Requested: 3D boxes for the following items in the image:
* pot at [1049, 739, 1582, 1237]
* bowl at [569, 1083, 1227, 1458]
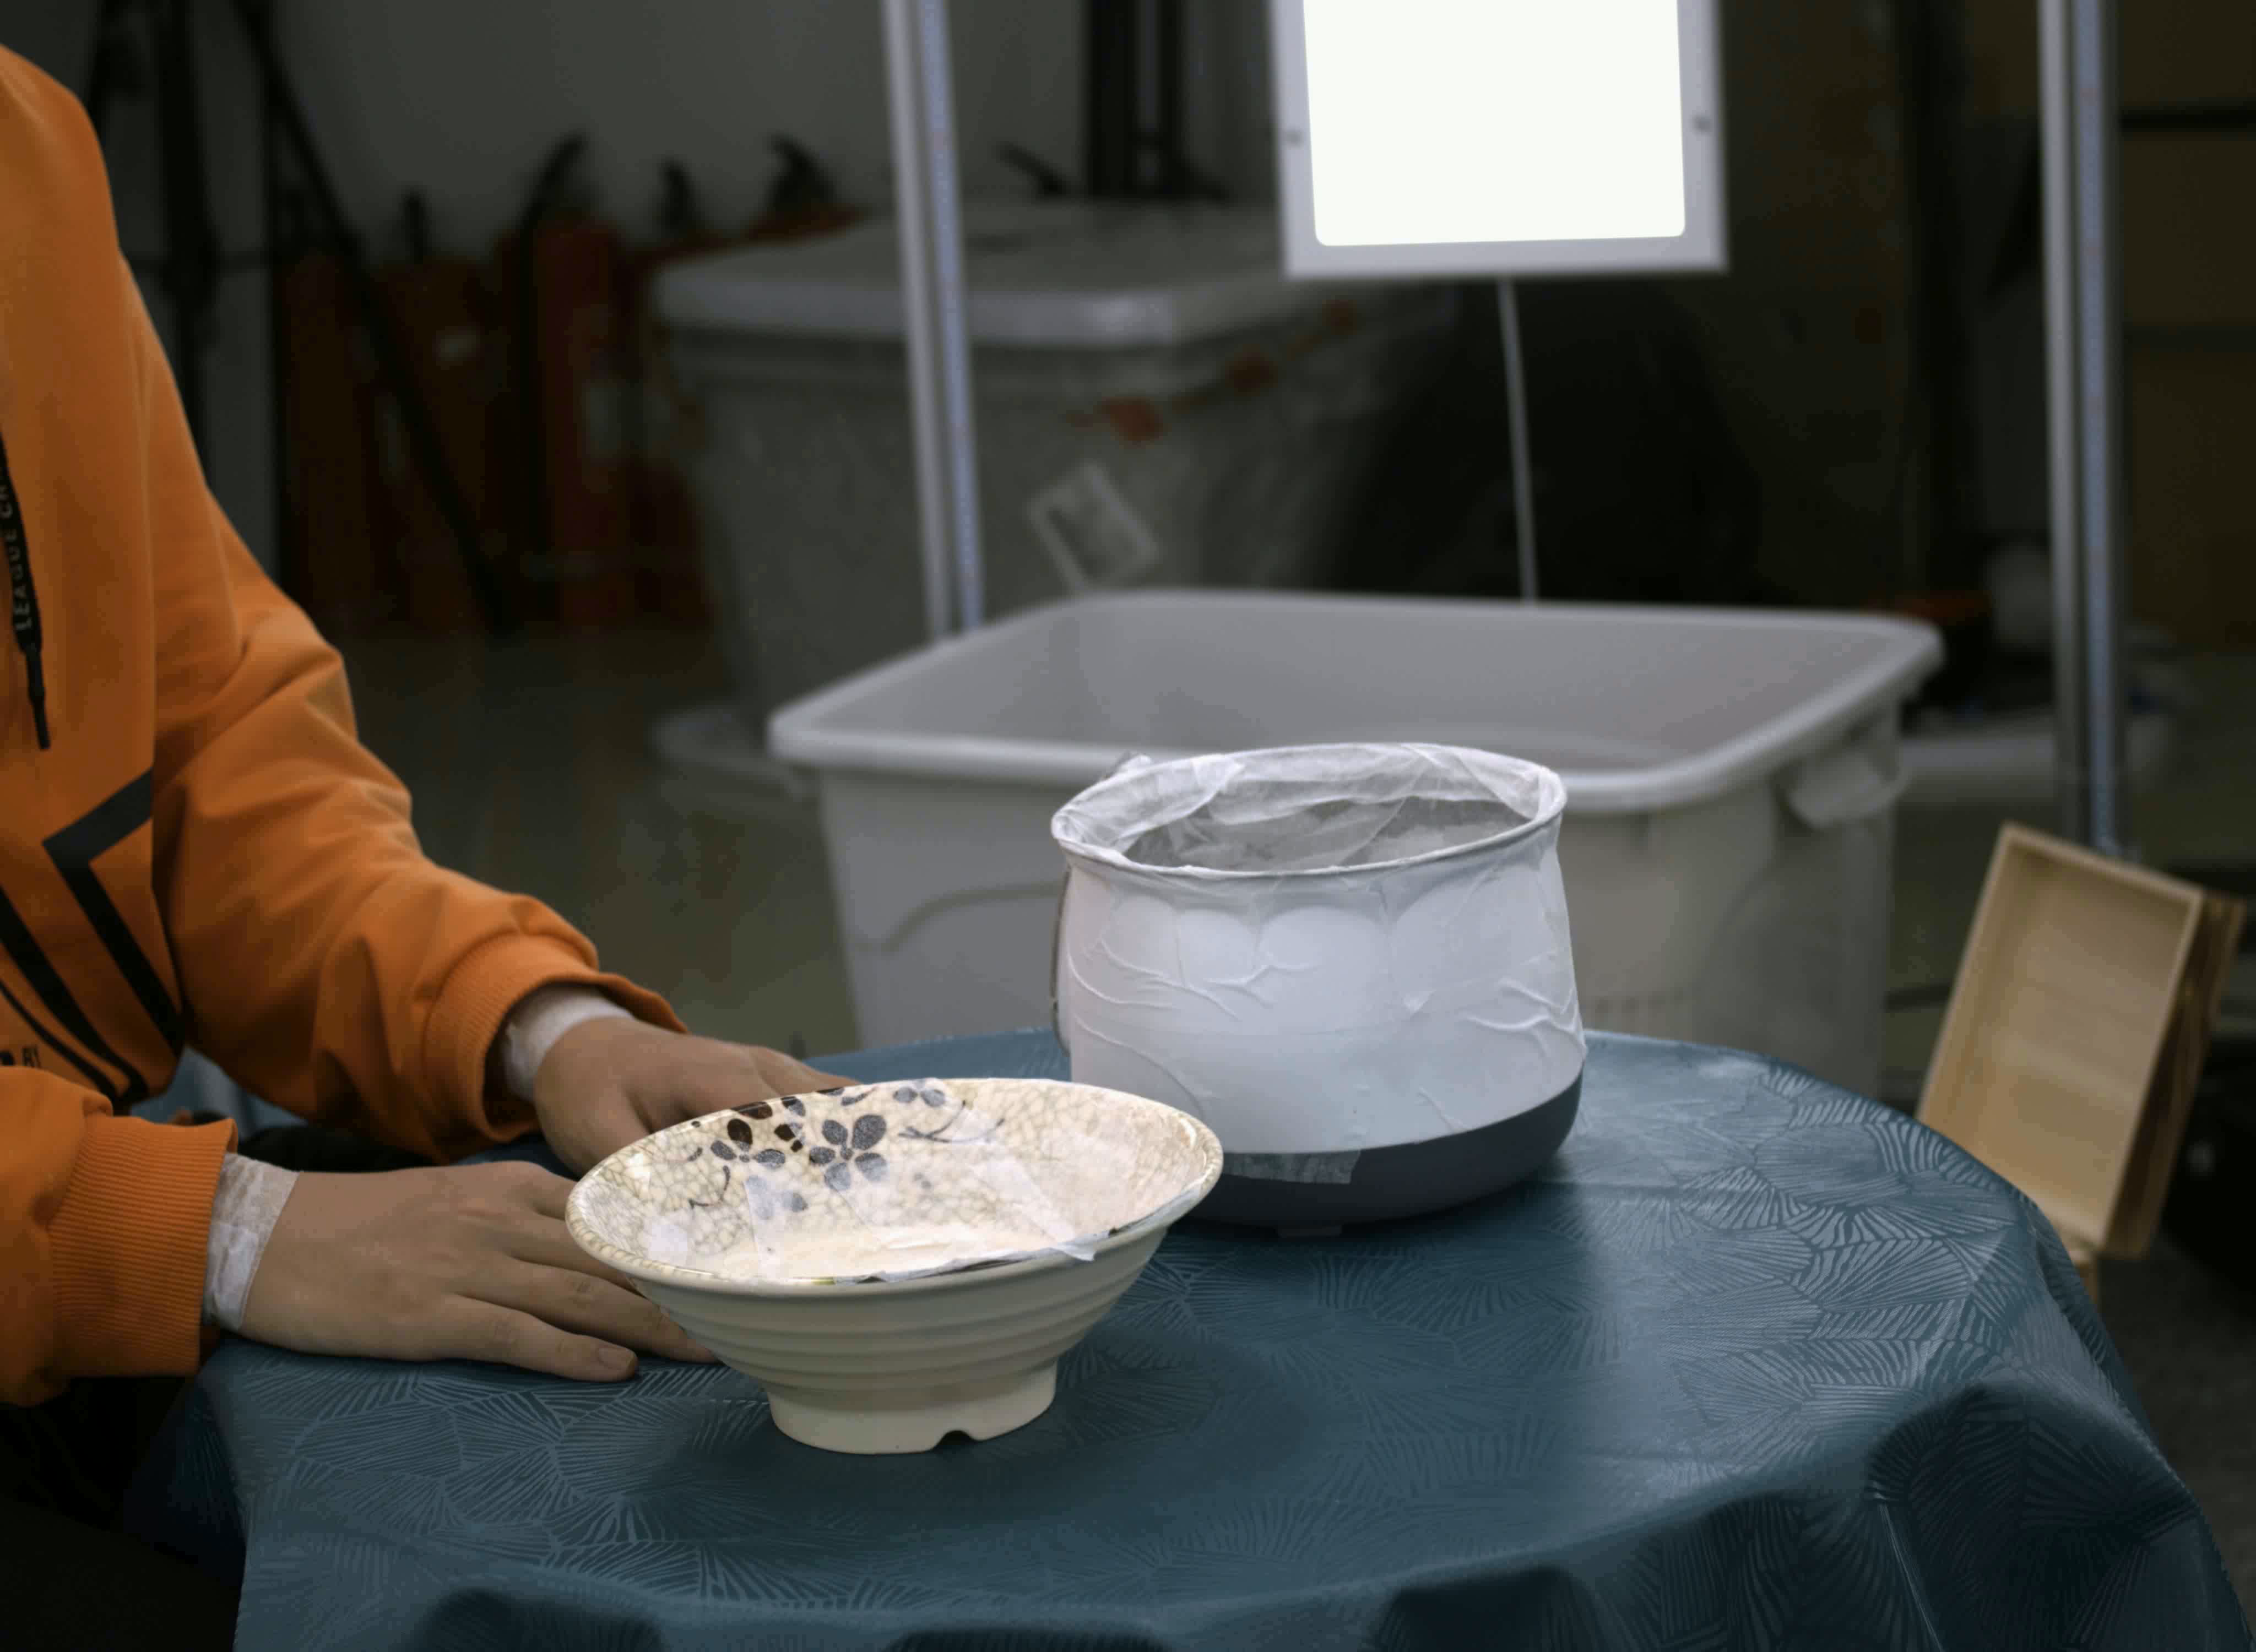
[{"bbox_3d":[0.049,0.049,1.902,0.174,0.137,0.238,-14,17,-35],"label":"pot"},{"bbox_3d":[-0.067,0.143,1.696,0.203,0.078,0.204,-7,13,0],"label":"bowl"}]
